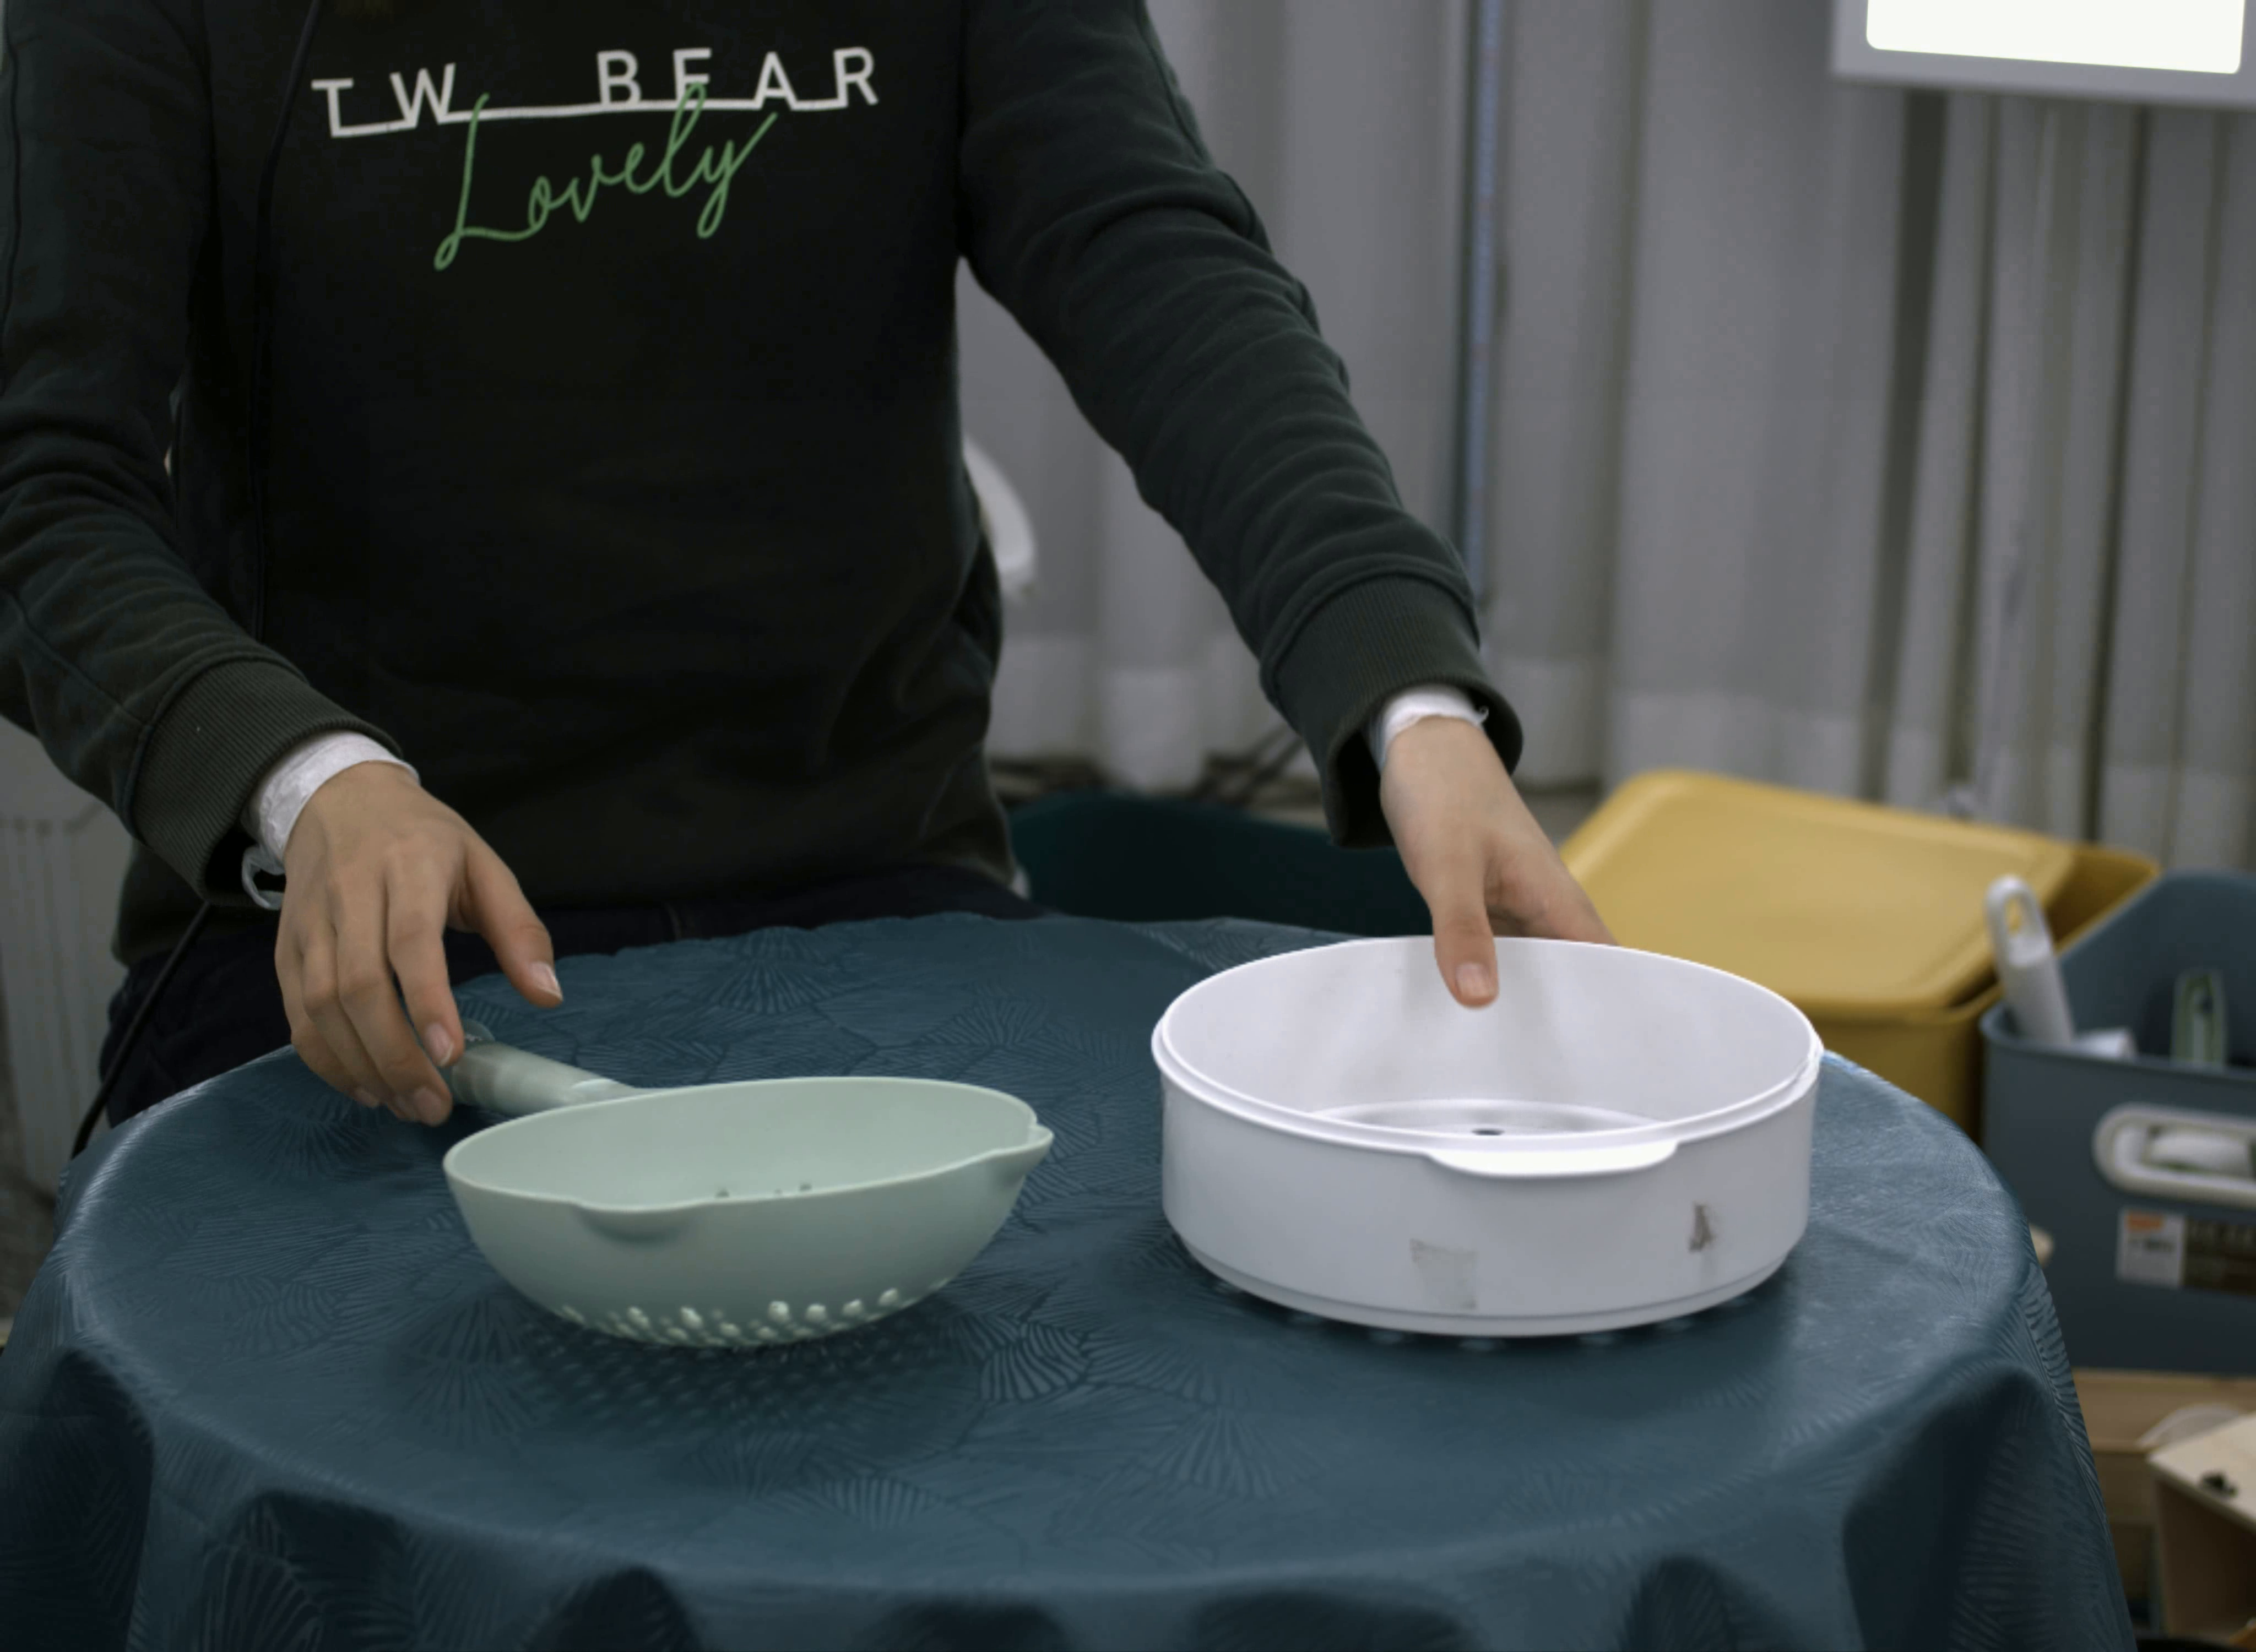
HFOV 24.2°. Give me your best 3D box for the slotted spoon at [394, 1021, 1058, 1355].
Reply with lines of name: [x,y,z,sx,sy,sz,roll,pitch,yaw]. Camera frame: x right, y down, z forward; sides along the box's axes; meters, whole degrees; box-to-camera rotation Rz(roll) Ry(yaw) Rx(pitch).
slotted spoon: [-0.154,0.092,1.579,0.170,0.076,0.354,-7,17,-28]

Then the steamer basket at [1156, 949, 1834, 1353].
steamer basket: [0.108,0.096,1.571,0.202,0.070,0.228,-1,16,-9]
